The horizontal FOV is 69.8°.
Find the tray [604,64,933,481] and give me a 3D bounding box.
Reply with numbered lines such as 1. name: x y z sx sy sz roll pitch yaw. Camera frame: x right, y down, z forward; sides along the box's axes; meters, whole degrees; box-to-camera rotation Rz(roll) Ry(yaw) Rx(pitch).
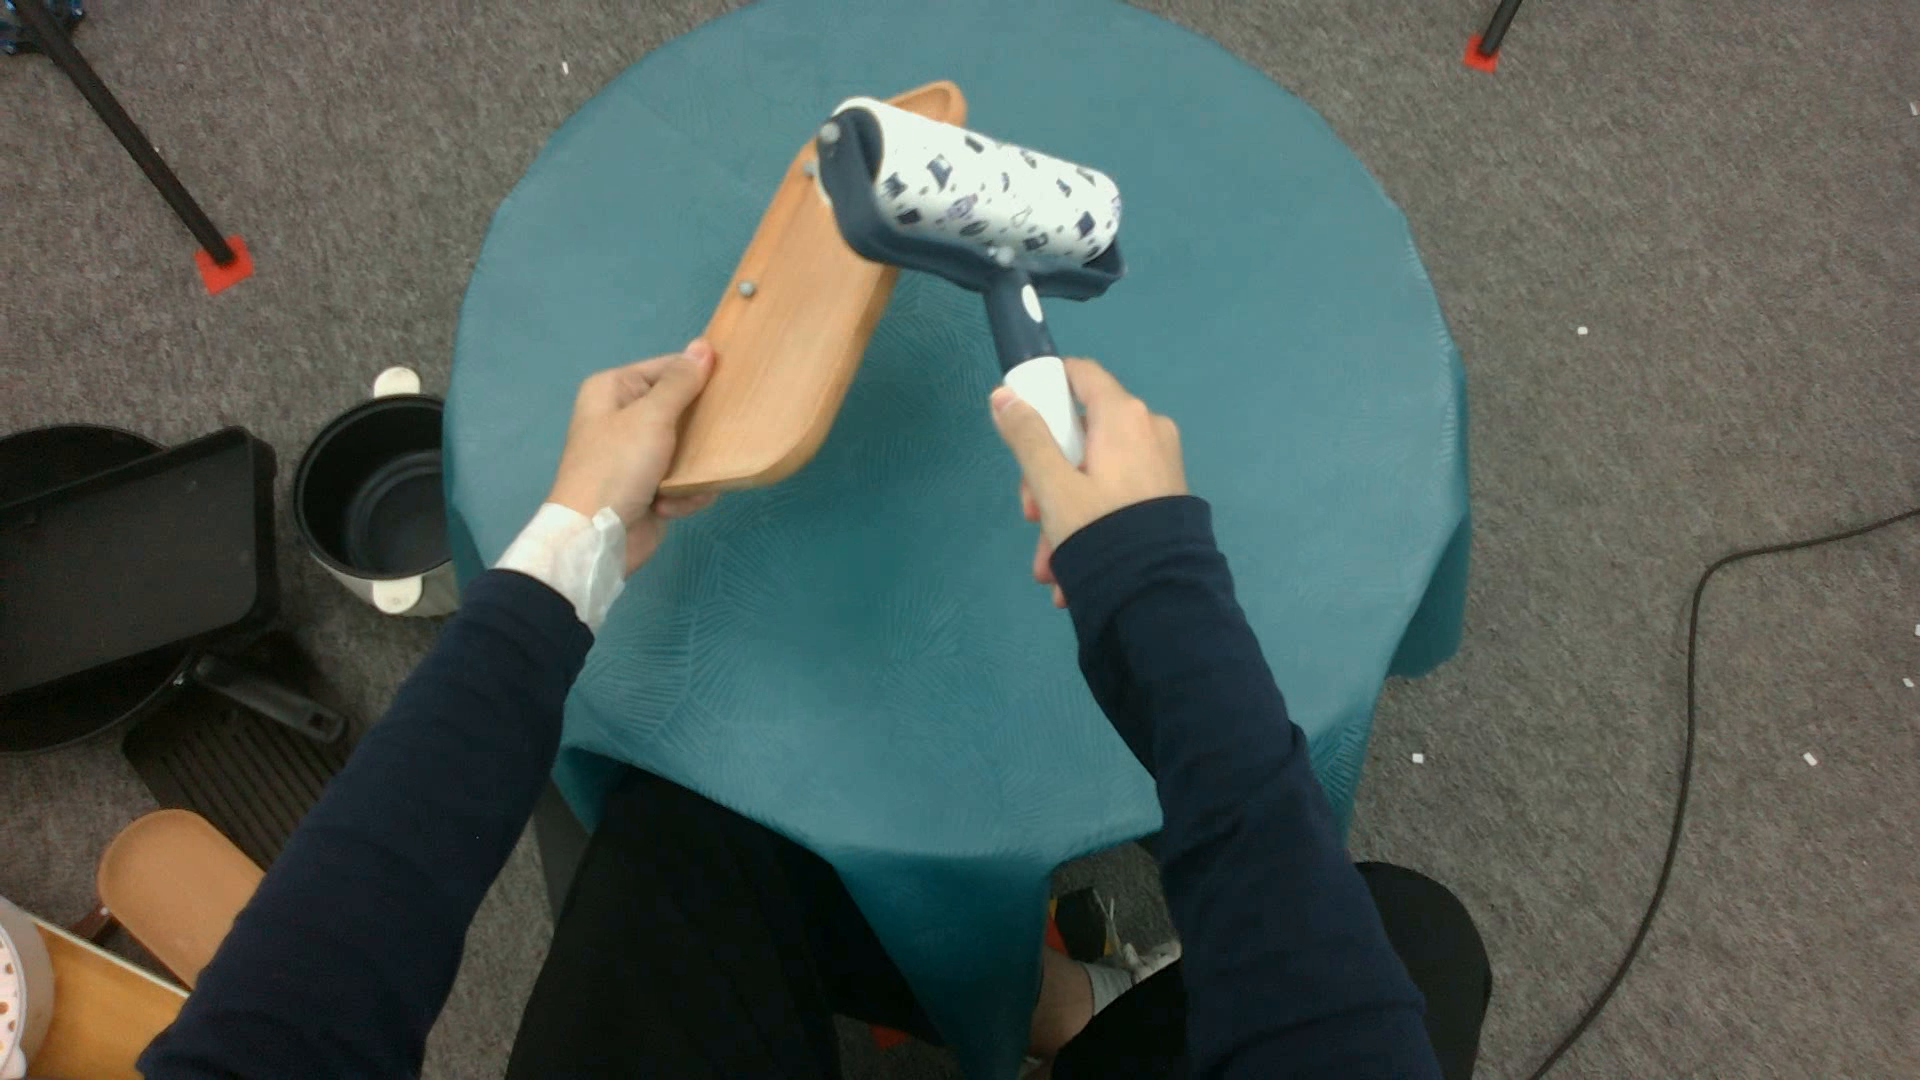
1. tray: -0.093 -0.137 0.691 0.023 0.130 0.252 40 57 -37

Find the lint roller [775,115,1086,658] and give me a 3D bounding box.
1. lint roller: 0.018 -0.068 0.625 0.177 0.050 0.247 0 66 -49
